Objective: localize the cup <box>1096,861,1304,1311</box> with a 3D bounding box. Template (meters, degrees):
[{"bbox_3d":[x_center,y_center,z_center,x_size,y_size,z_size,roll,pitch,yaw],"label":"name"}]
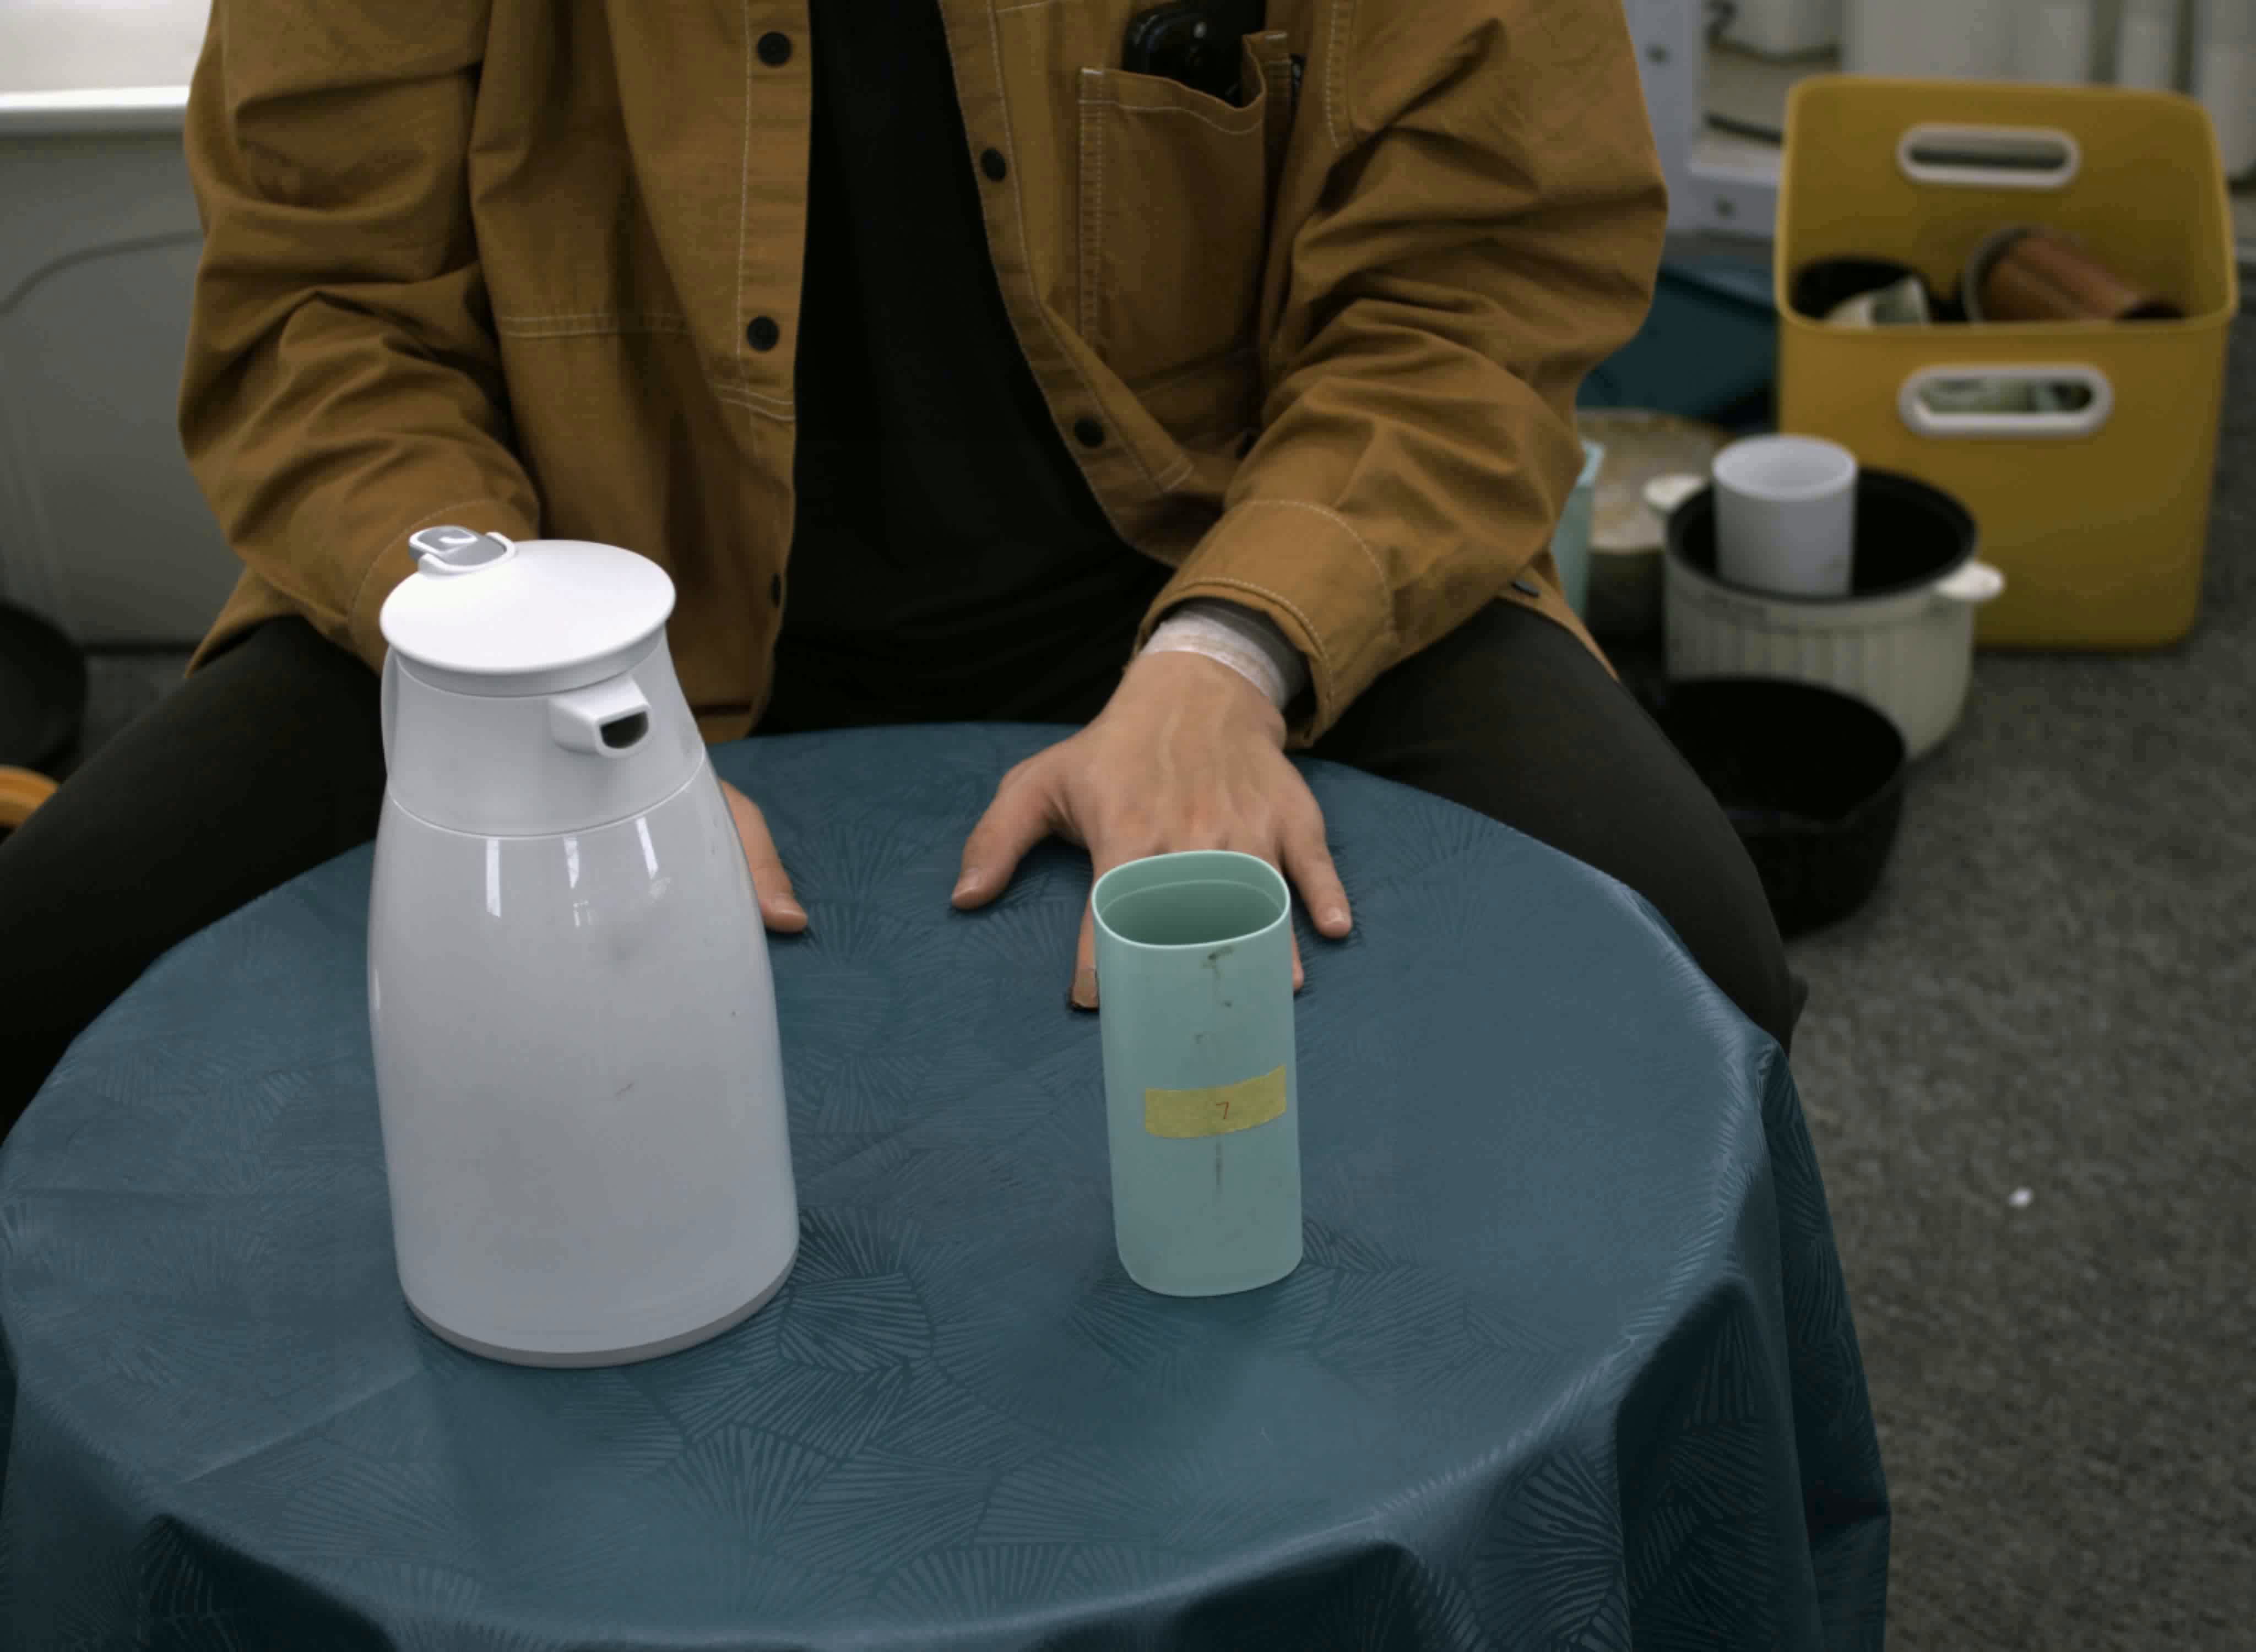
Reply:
[{"bbox_3d":[0.024,0.082,1.799,0.066,0.131,0.068,-2,27,2],"label":"cup"}]

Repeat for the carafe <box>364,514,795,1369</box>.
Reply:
[{"bbox_3d":[-0.191,0.027,1.796,0.133,0.246,0.168,-19,30,-29],"label":"carafe"}]
